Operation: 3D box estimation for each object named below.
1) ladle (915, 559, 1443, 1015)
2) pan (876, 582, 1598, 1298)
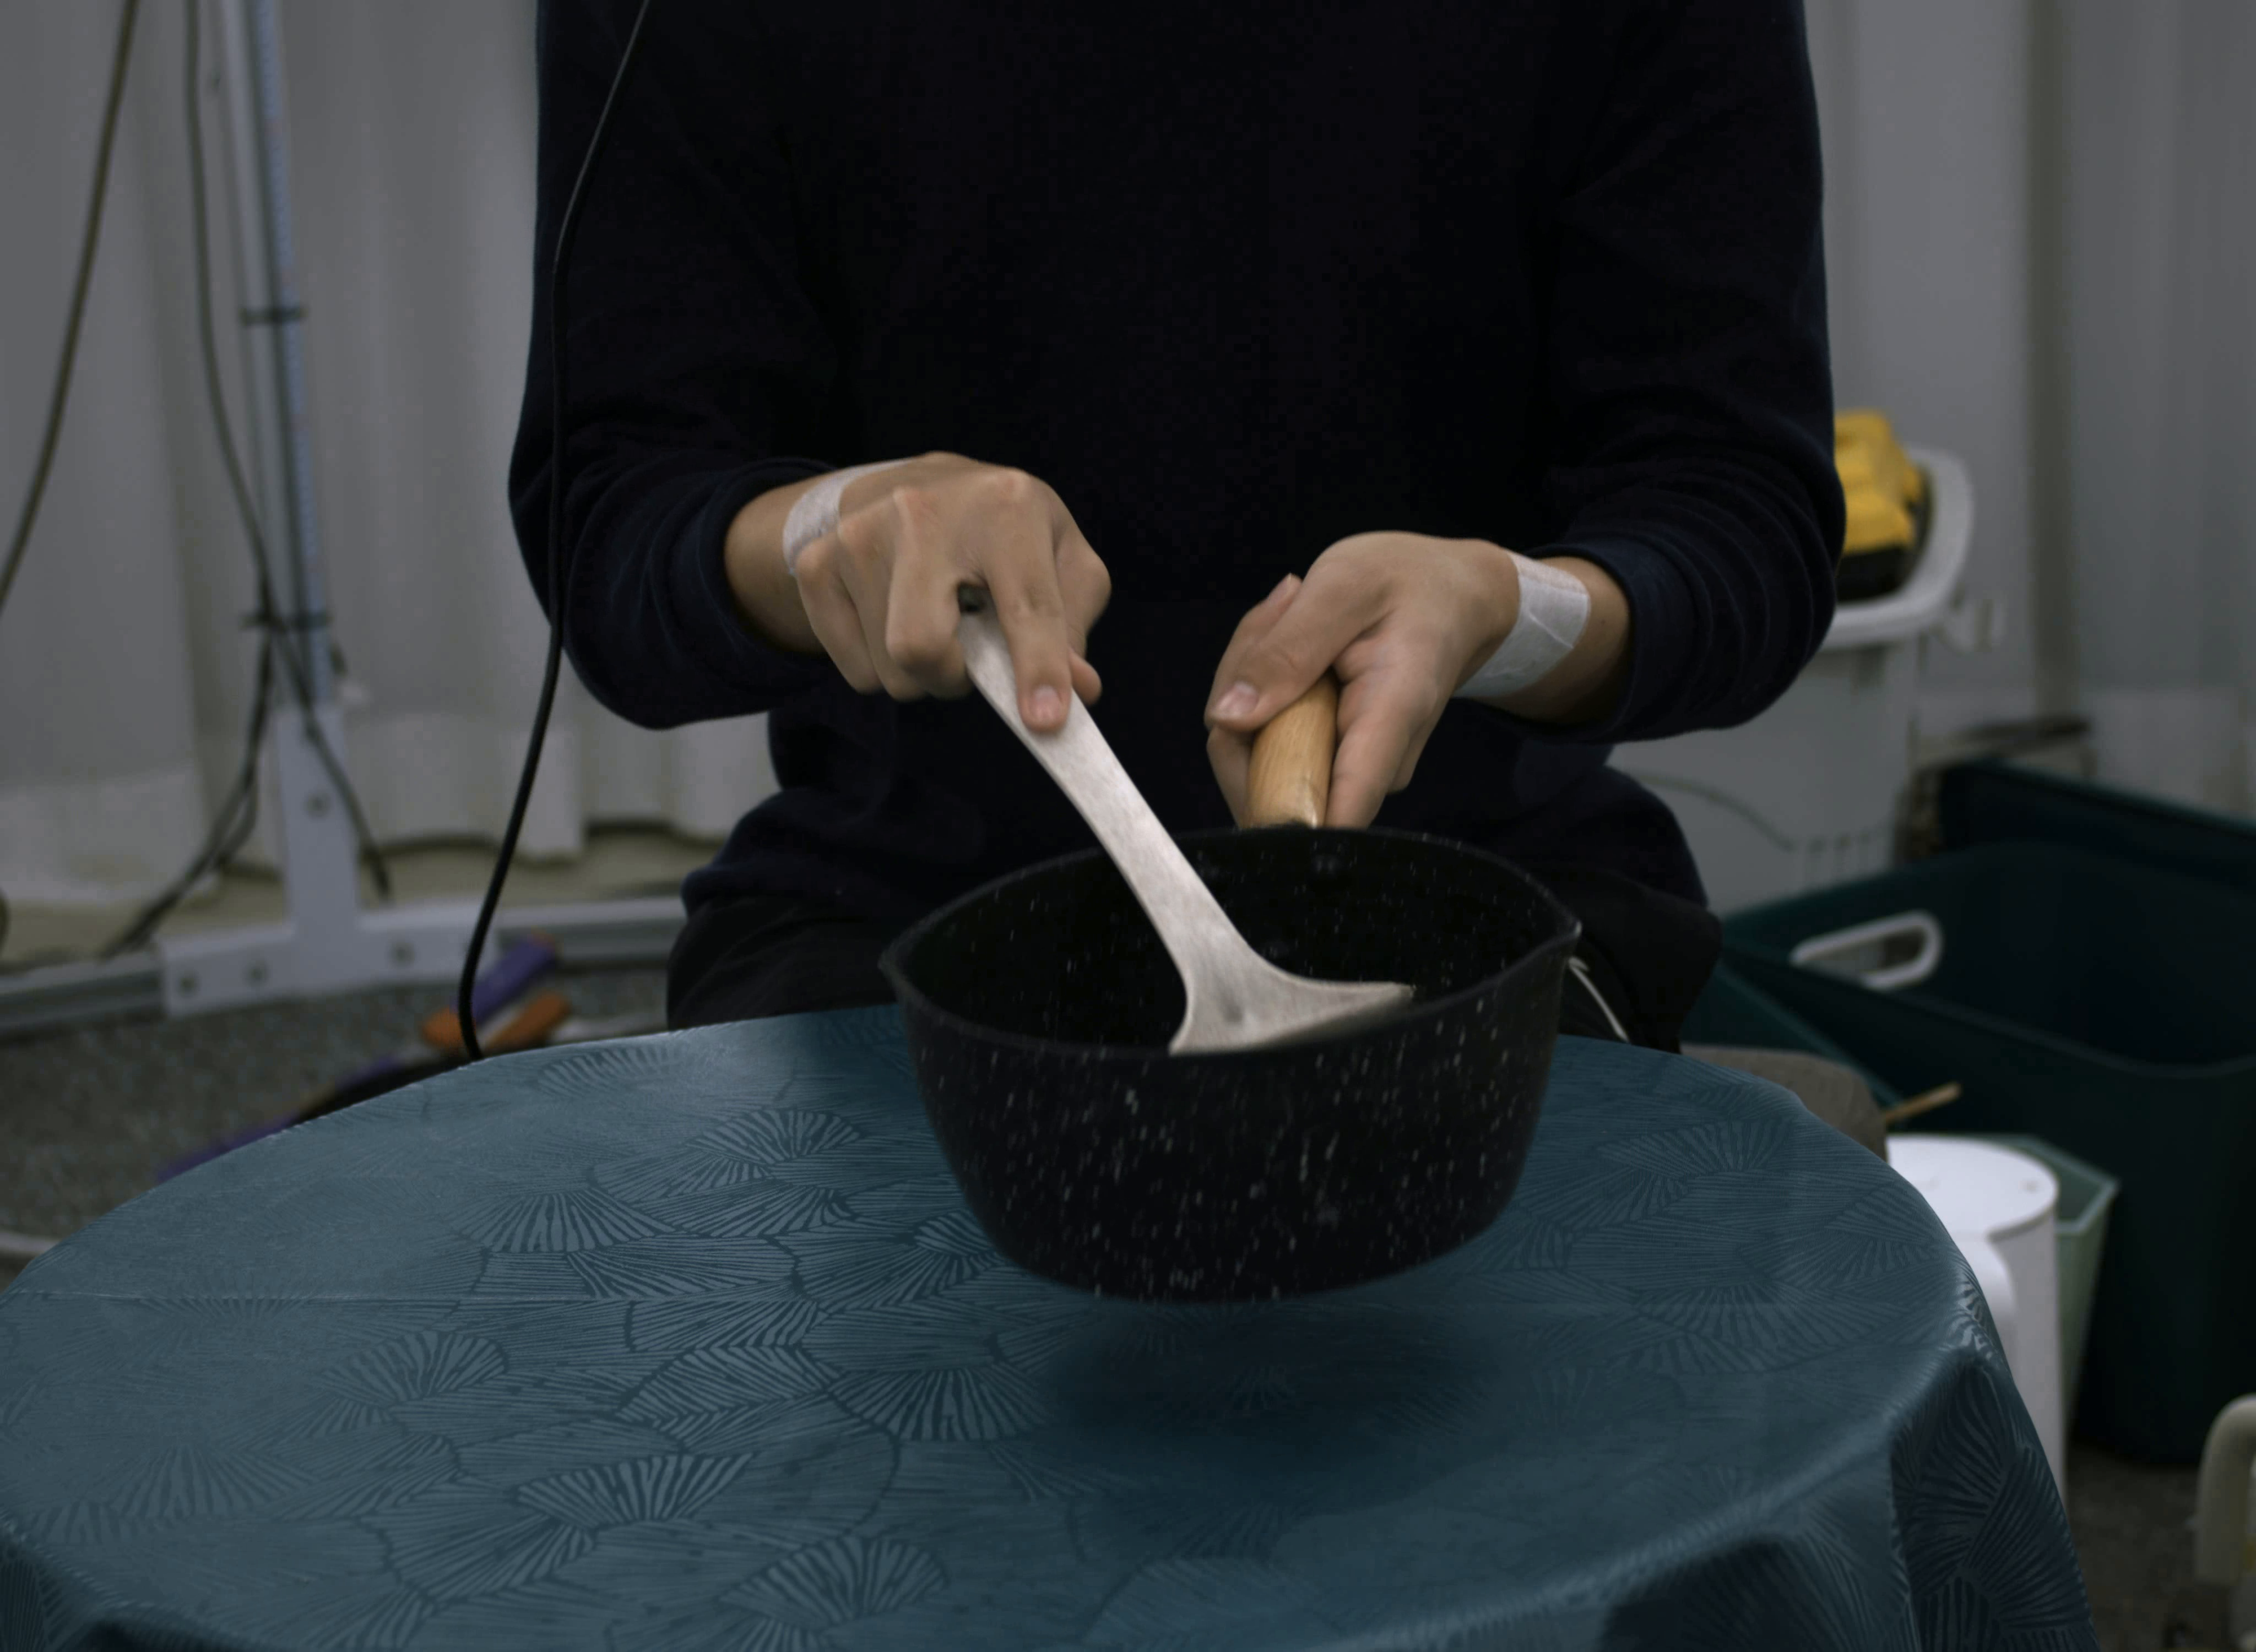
[{"bbox_3d":[0.000,-0.016,1.607,0.089,0.068,0.279,-19,48,-17],"label":"ladle"},{"bbox_3d":[0.040,0.028,1.618,0.207,0.107,0.345,-3,19,8],"label":"pan"}]
